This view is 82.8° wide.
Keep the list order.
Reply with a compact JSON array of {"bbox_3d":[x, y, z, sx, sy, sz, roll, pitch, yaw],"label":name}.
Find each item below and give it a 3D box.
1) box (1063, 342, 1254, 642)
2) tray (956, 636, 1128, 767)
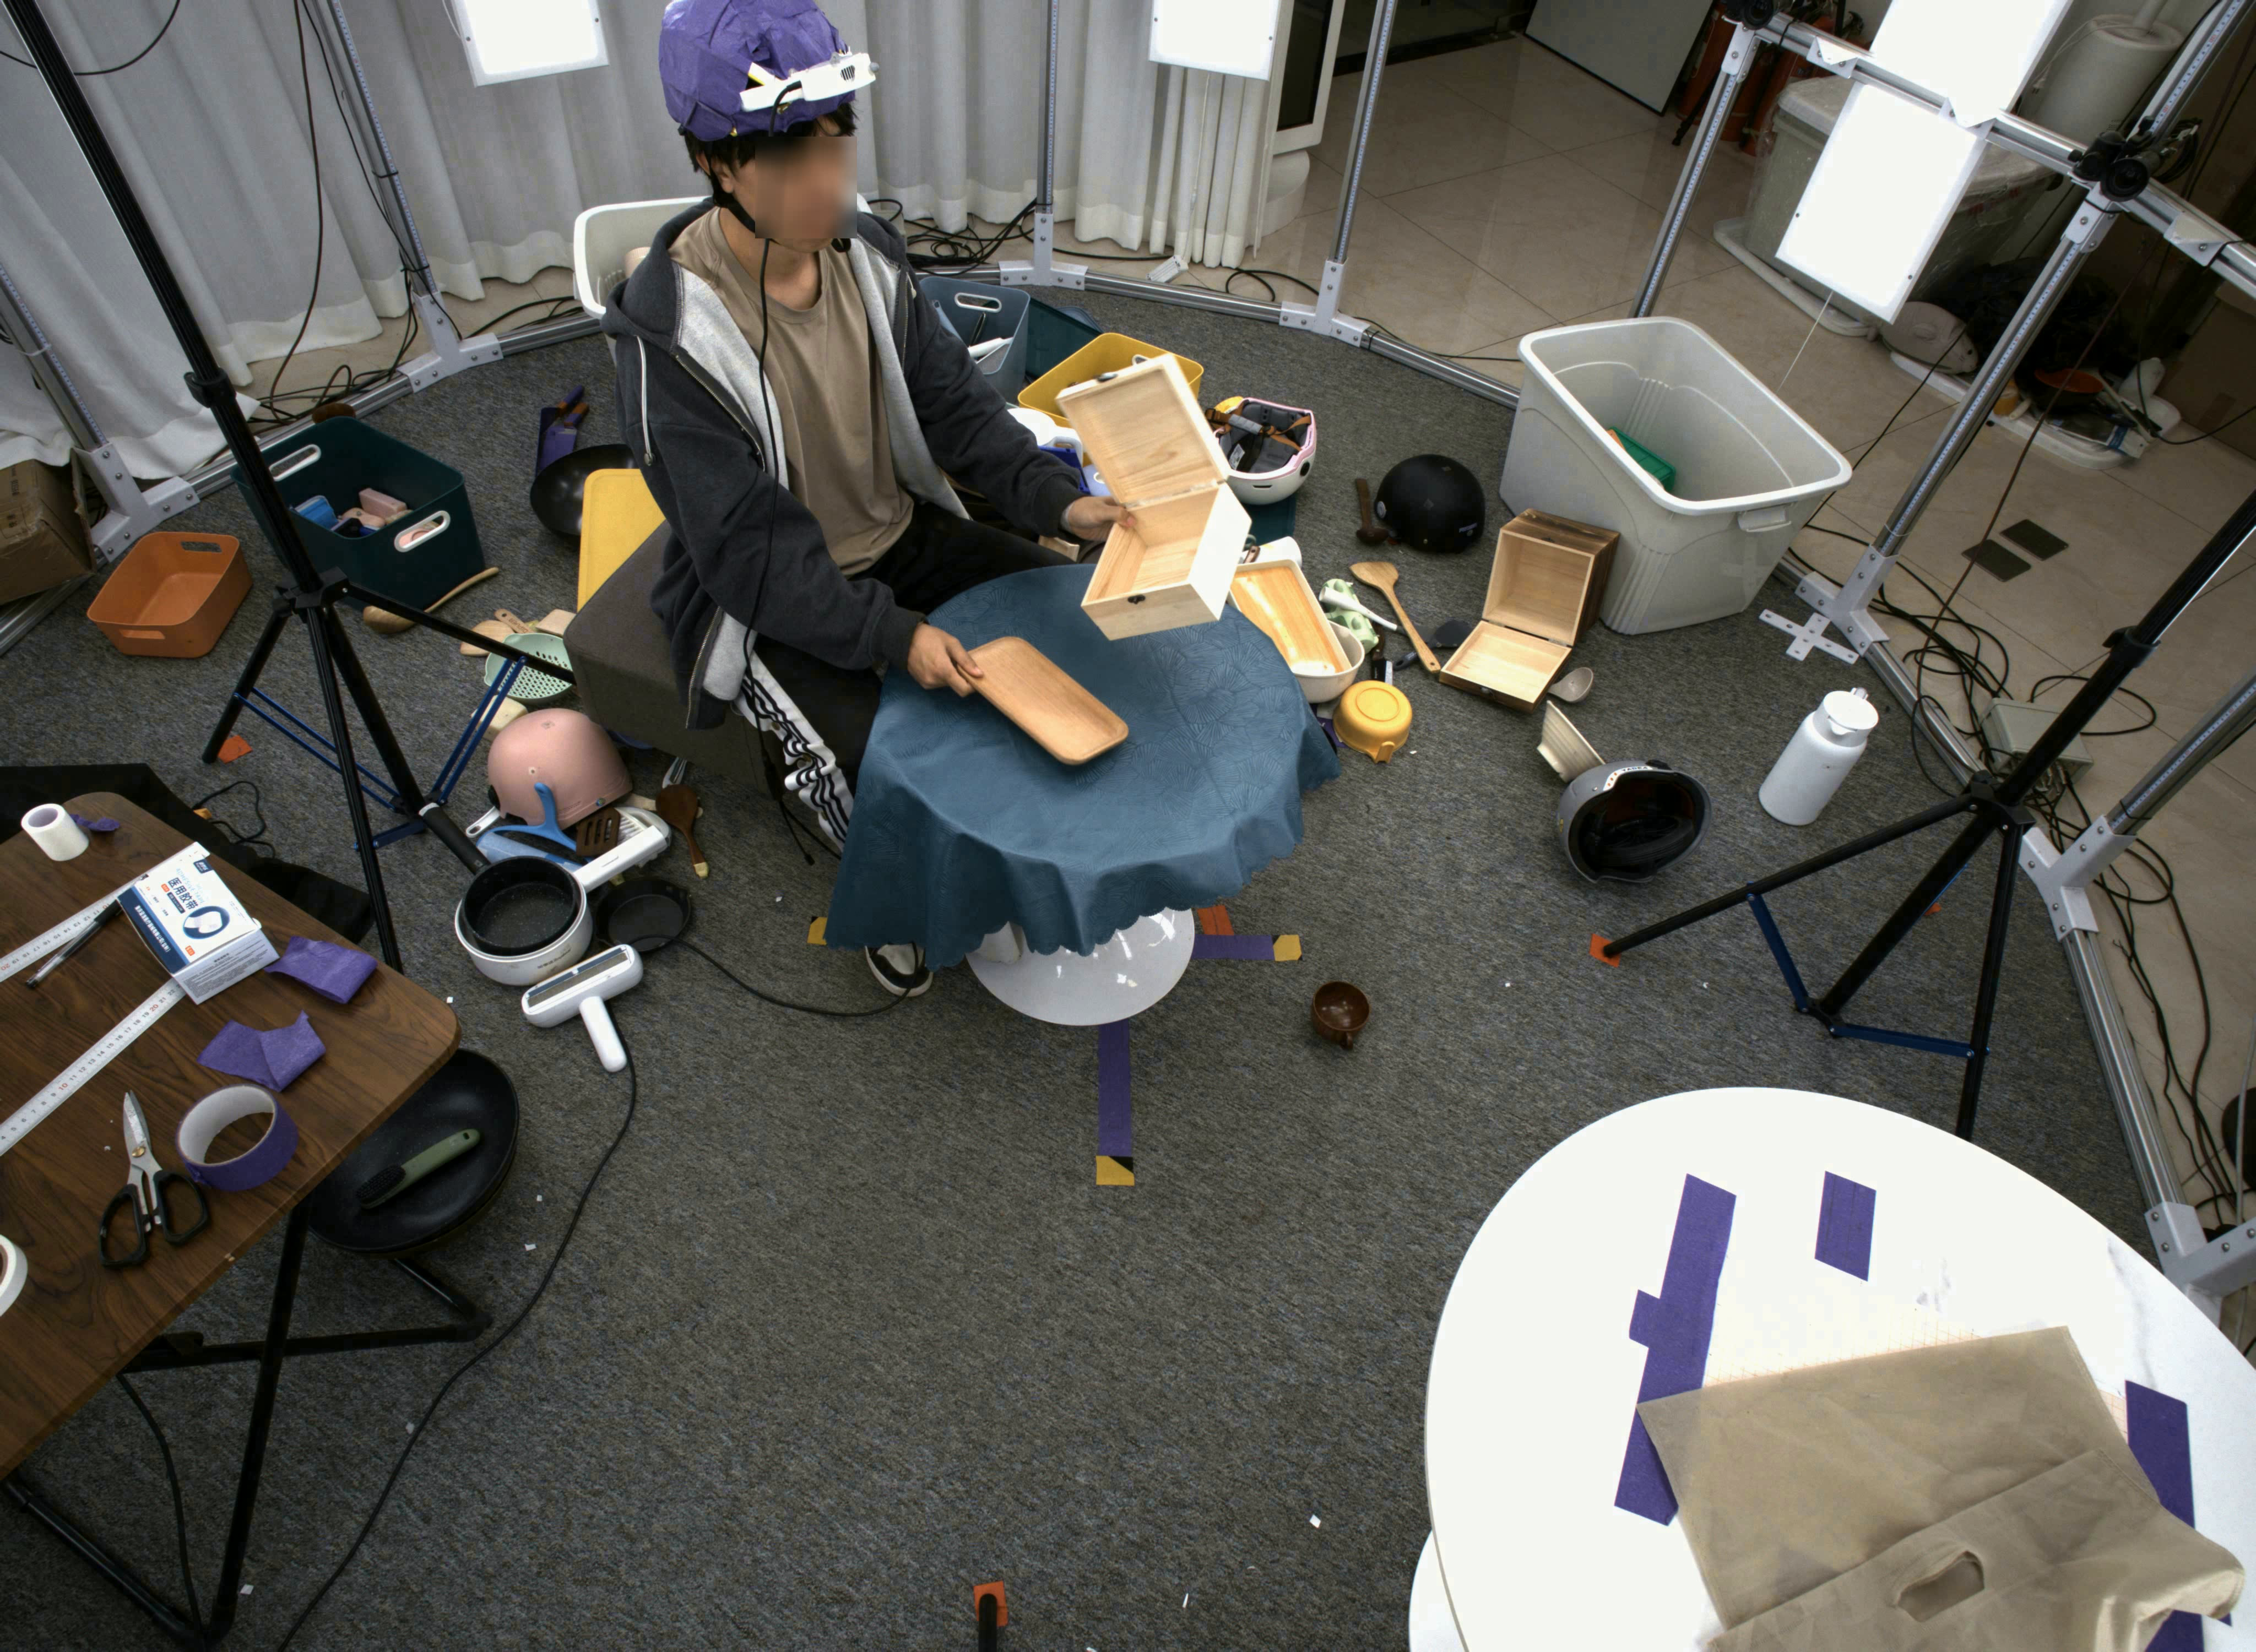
[{"bbox_3d":[0.019,-0.432,1.711,0.182,0.248,0.270,-8,49,38],"label":"box"},{"bbox_3d":[-0.120,-0.173,1.765,0.131,0.022,0.254,-27,58,-39],"label":"tray"}]
